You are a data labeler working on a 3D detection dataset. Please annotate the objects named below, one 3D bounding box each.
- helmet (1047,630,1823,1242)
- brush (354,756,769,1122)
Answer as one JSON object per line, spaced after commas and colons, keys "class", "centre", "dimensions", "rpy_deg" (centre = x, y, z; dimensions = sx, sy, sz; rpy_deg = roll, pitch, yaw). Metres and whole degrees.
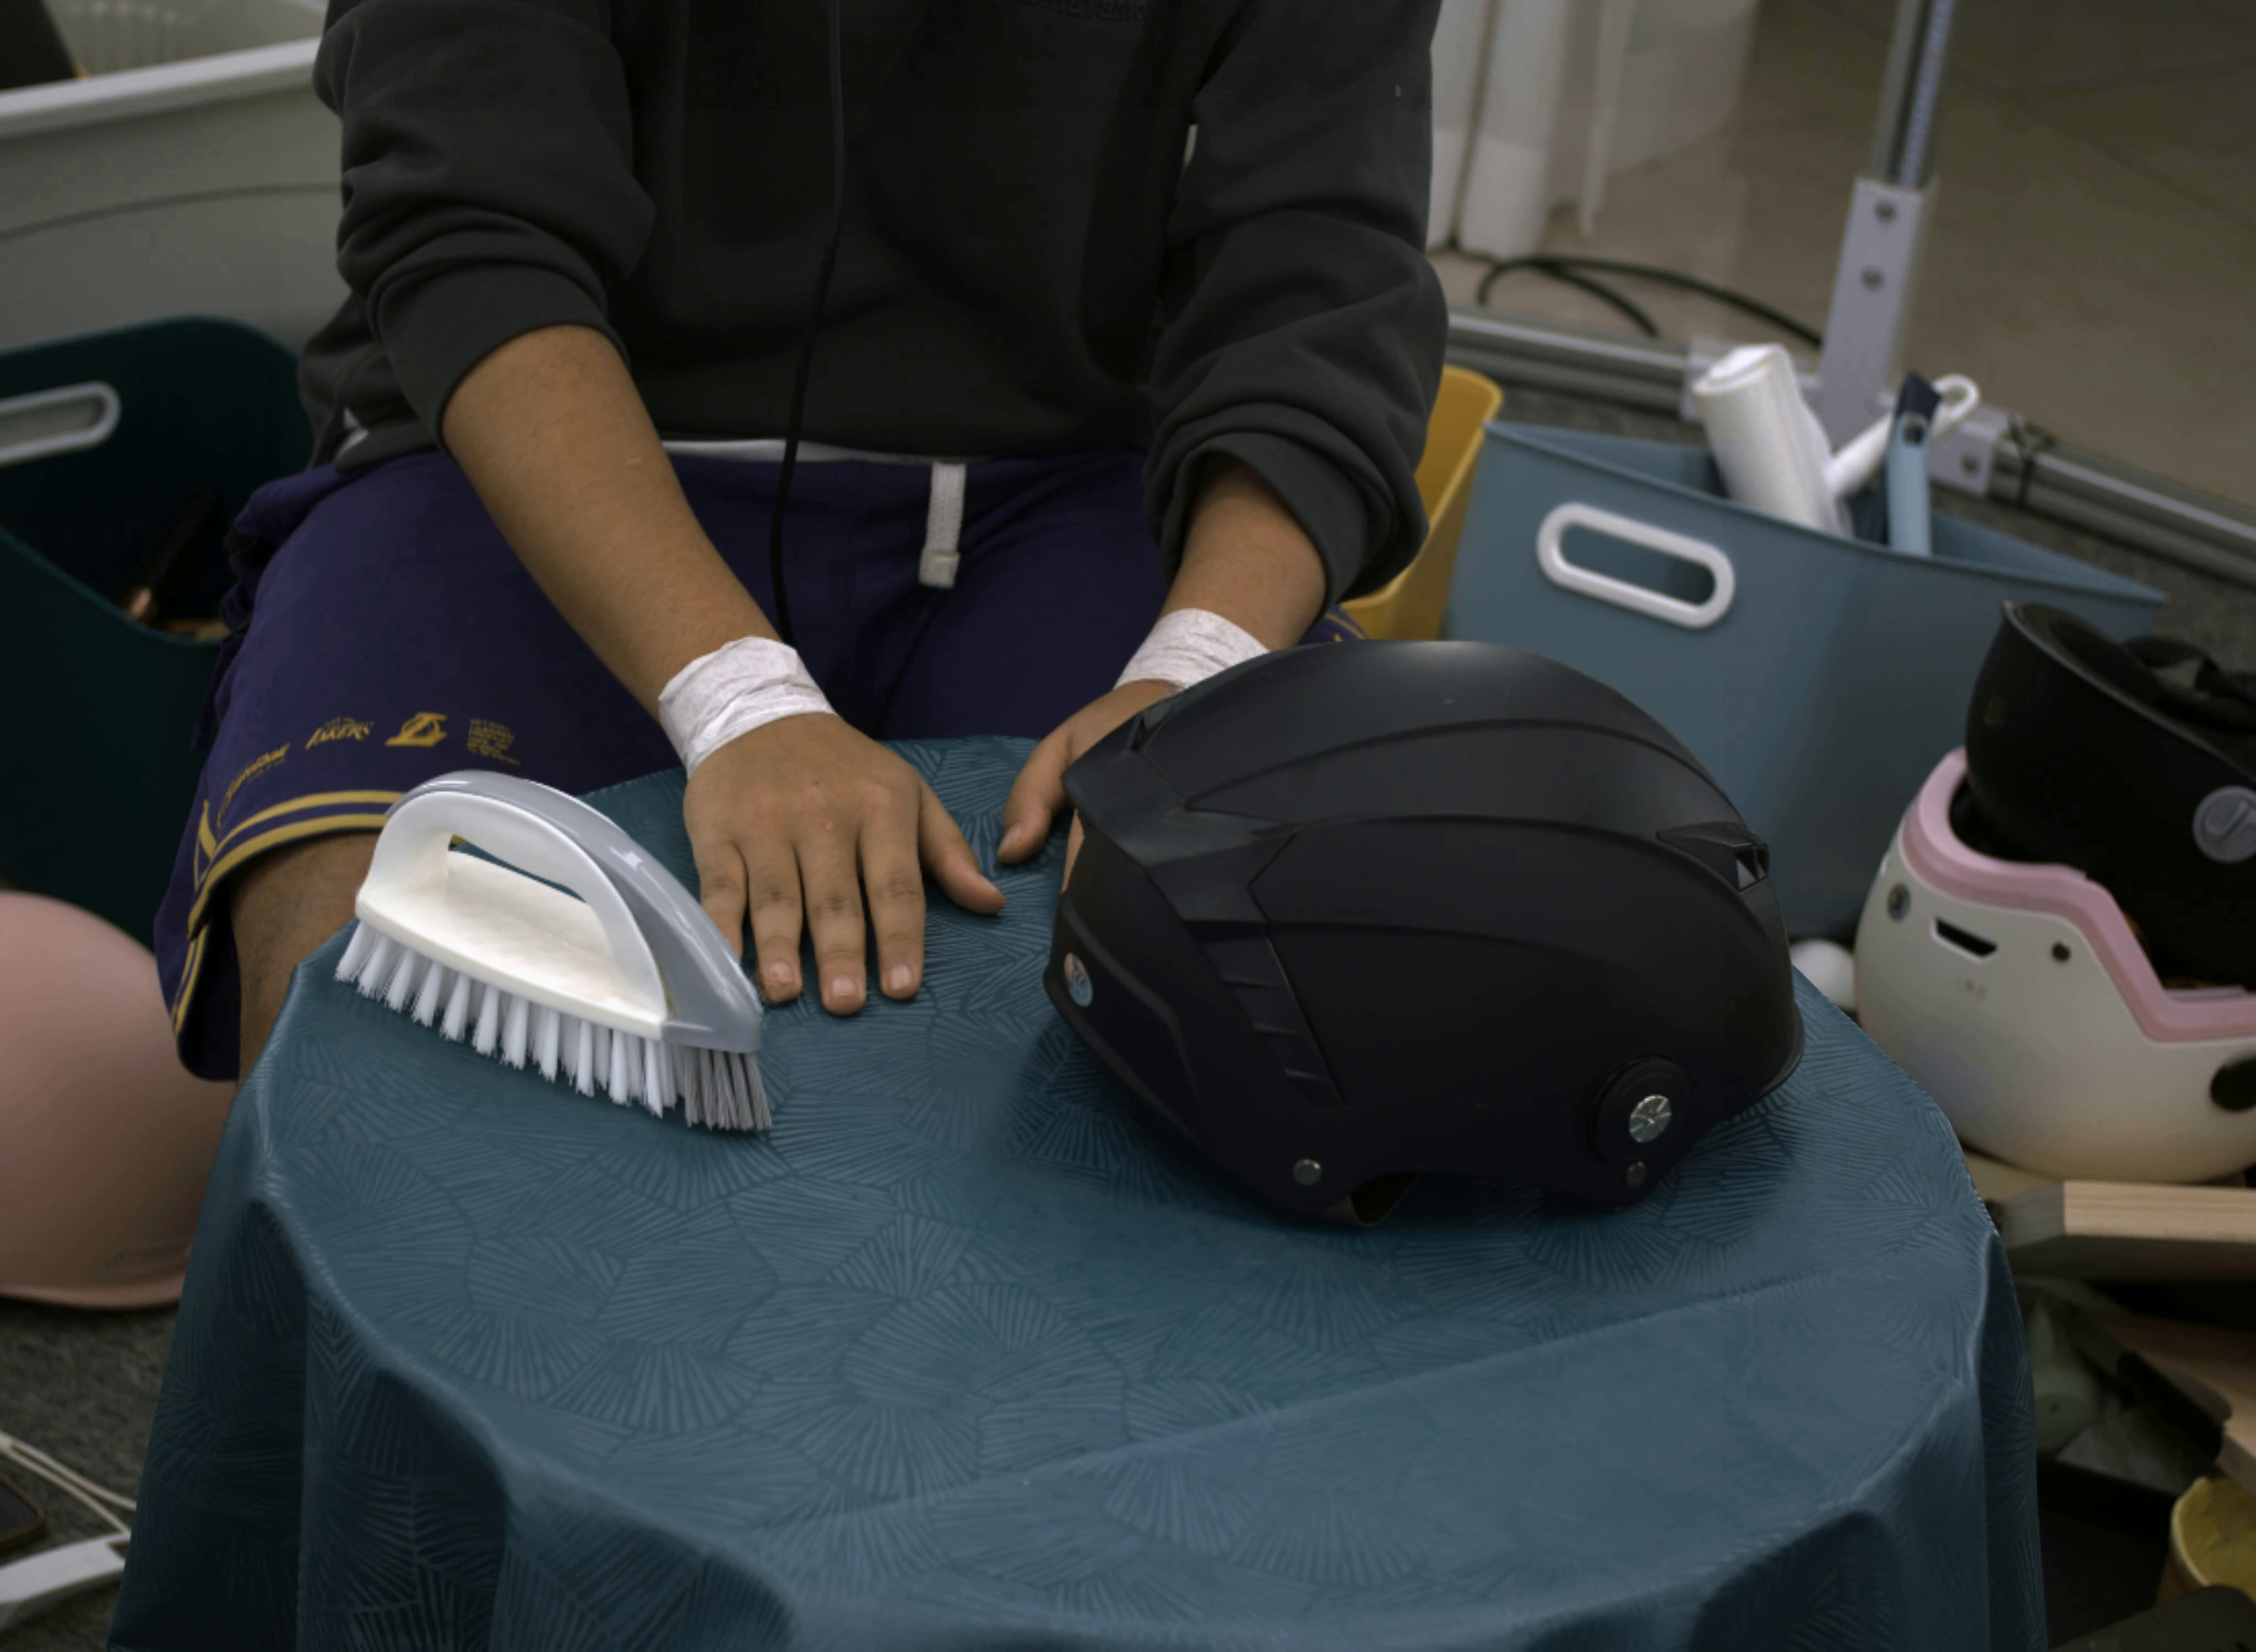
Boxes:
{"class": "helmet", "centre": [0.107, 0.020, 1.855], "dimensions": [0.275, 0.172, 0.249], "rpy_deg": [-9, 31, -20]}
{"class": "brush", "centre": [-0.189, 0.034, 1.834], "dimensions": [0.176, 0.094, 0.061], "rpy_deg": [26, 36, 29]}
